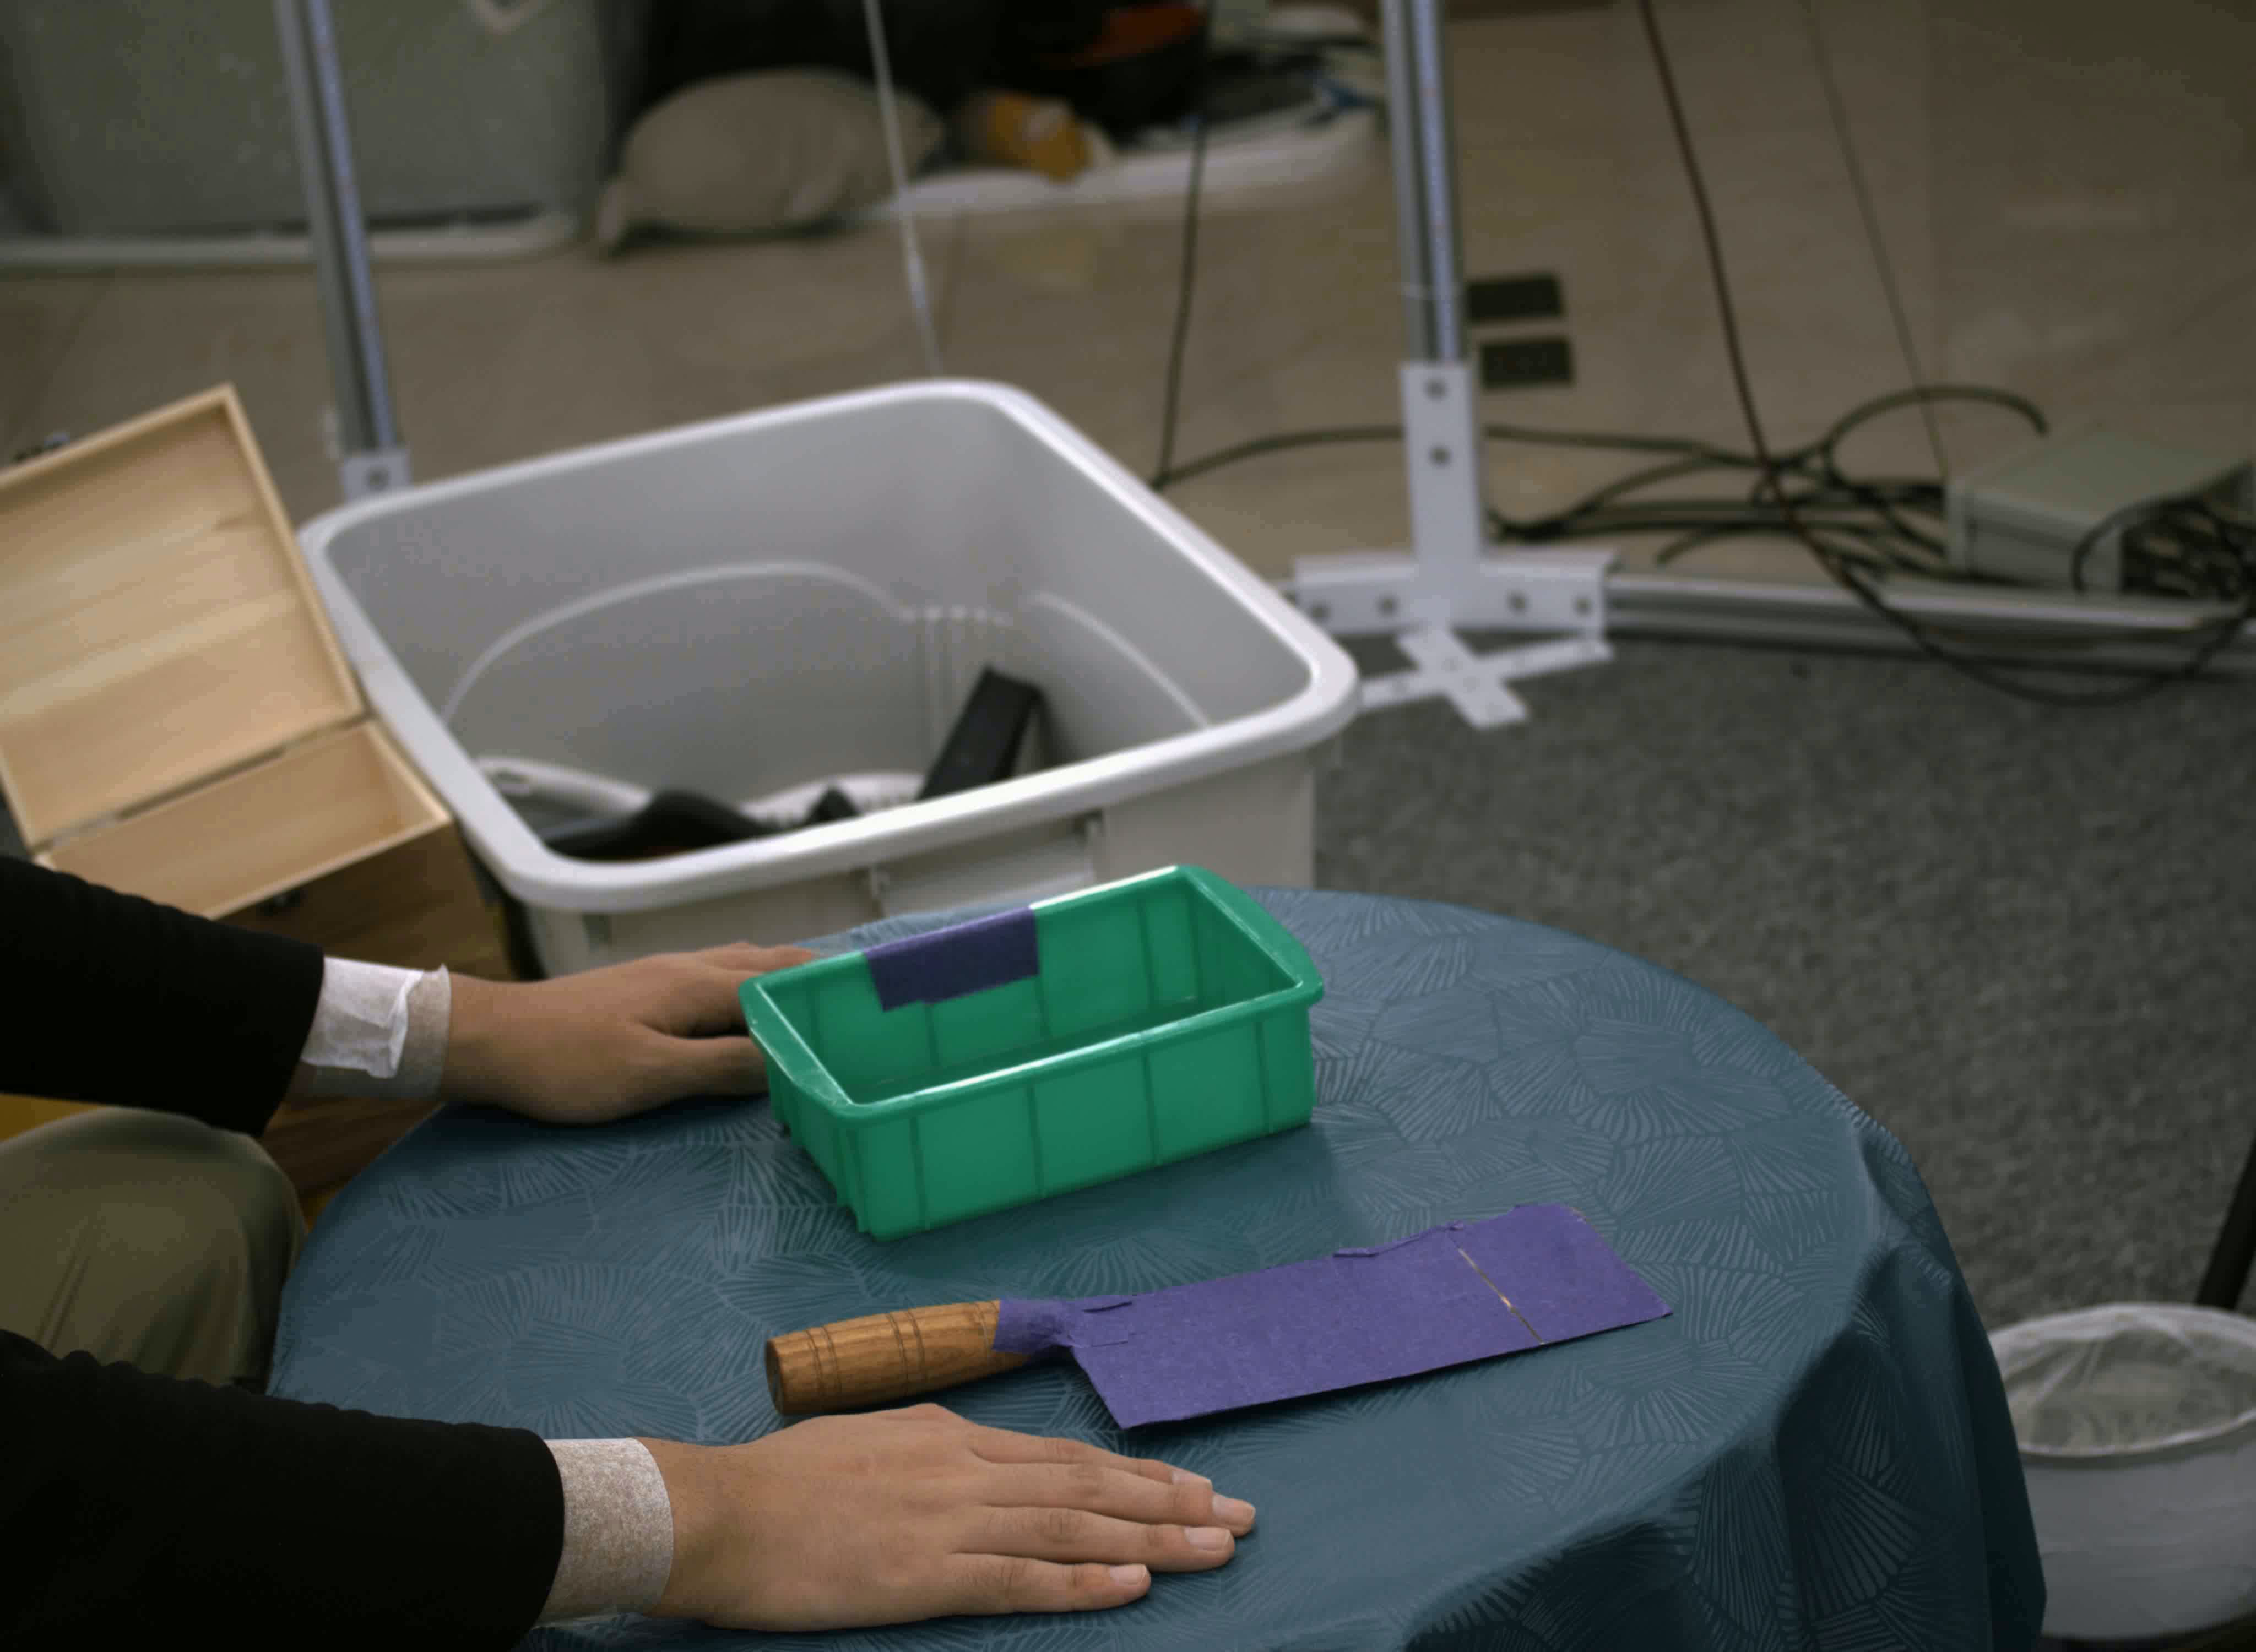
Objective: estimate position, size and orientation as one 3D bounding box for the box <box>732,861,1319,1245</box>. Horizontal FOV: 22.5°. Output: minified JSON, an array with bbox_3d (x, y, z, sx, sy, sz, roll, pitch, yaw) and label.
[{"bbox_3d":[-0.037,0.088,2.192,0.209,0.066,0.137,-17,26,-17],"label":"box"}]

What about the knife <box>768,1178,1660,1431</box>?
[{"bbox_3d":[0.033,0.179,2.023,0.314,0.033,0.102,-13,26,-15],"label":"knife"}]
